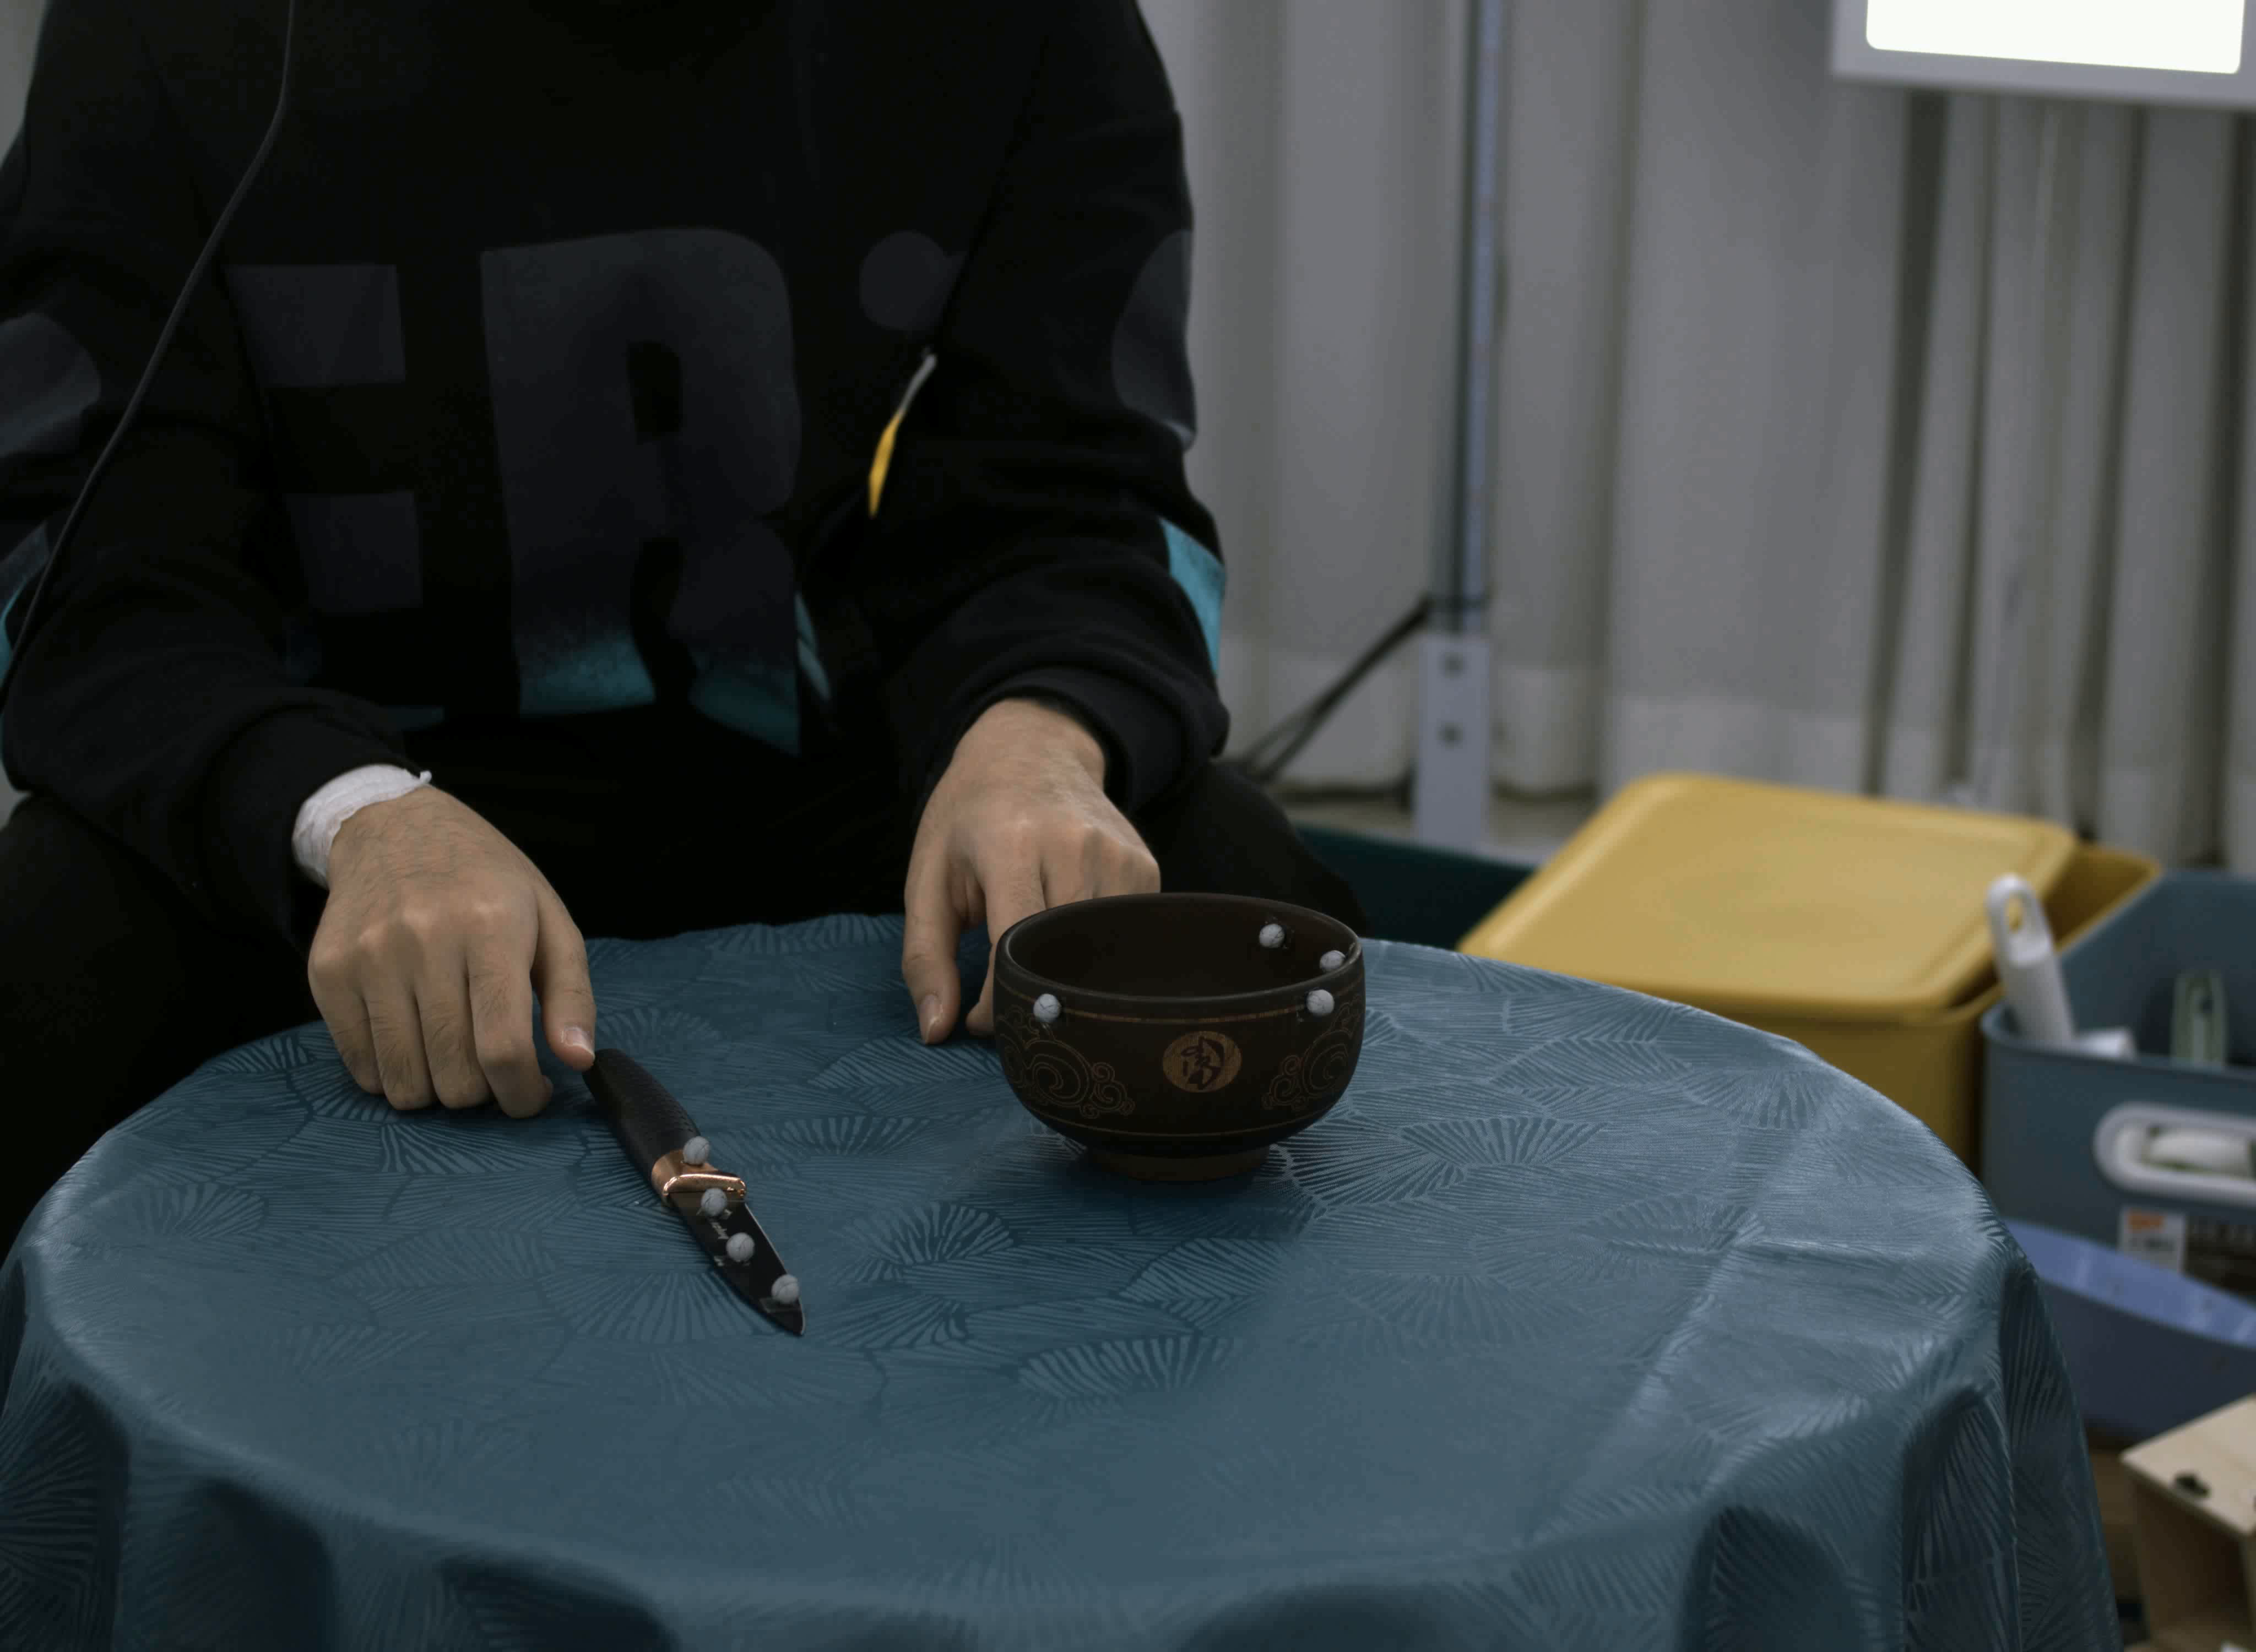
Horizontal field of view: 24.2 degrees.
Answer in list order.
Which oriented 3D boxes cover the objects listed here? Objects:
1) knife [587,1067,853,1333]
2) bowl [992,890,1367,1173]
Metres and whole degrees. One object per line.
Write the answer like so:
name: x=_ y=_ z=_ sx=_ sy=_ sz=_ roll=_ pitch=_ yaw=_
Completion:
knife: x=-0.126 y=0.113 z=1.598 sx=0.026 sy=0.017 sz=0.223 roll=1 pitch=15 yaw=-23
bowl: x=0.016 y=0.067 z=1.644 sx=0.117 sy=0.070 sz=0.117 roll=1 pitch=14 yaw=0
